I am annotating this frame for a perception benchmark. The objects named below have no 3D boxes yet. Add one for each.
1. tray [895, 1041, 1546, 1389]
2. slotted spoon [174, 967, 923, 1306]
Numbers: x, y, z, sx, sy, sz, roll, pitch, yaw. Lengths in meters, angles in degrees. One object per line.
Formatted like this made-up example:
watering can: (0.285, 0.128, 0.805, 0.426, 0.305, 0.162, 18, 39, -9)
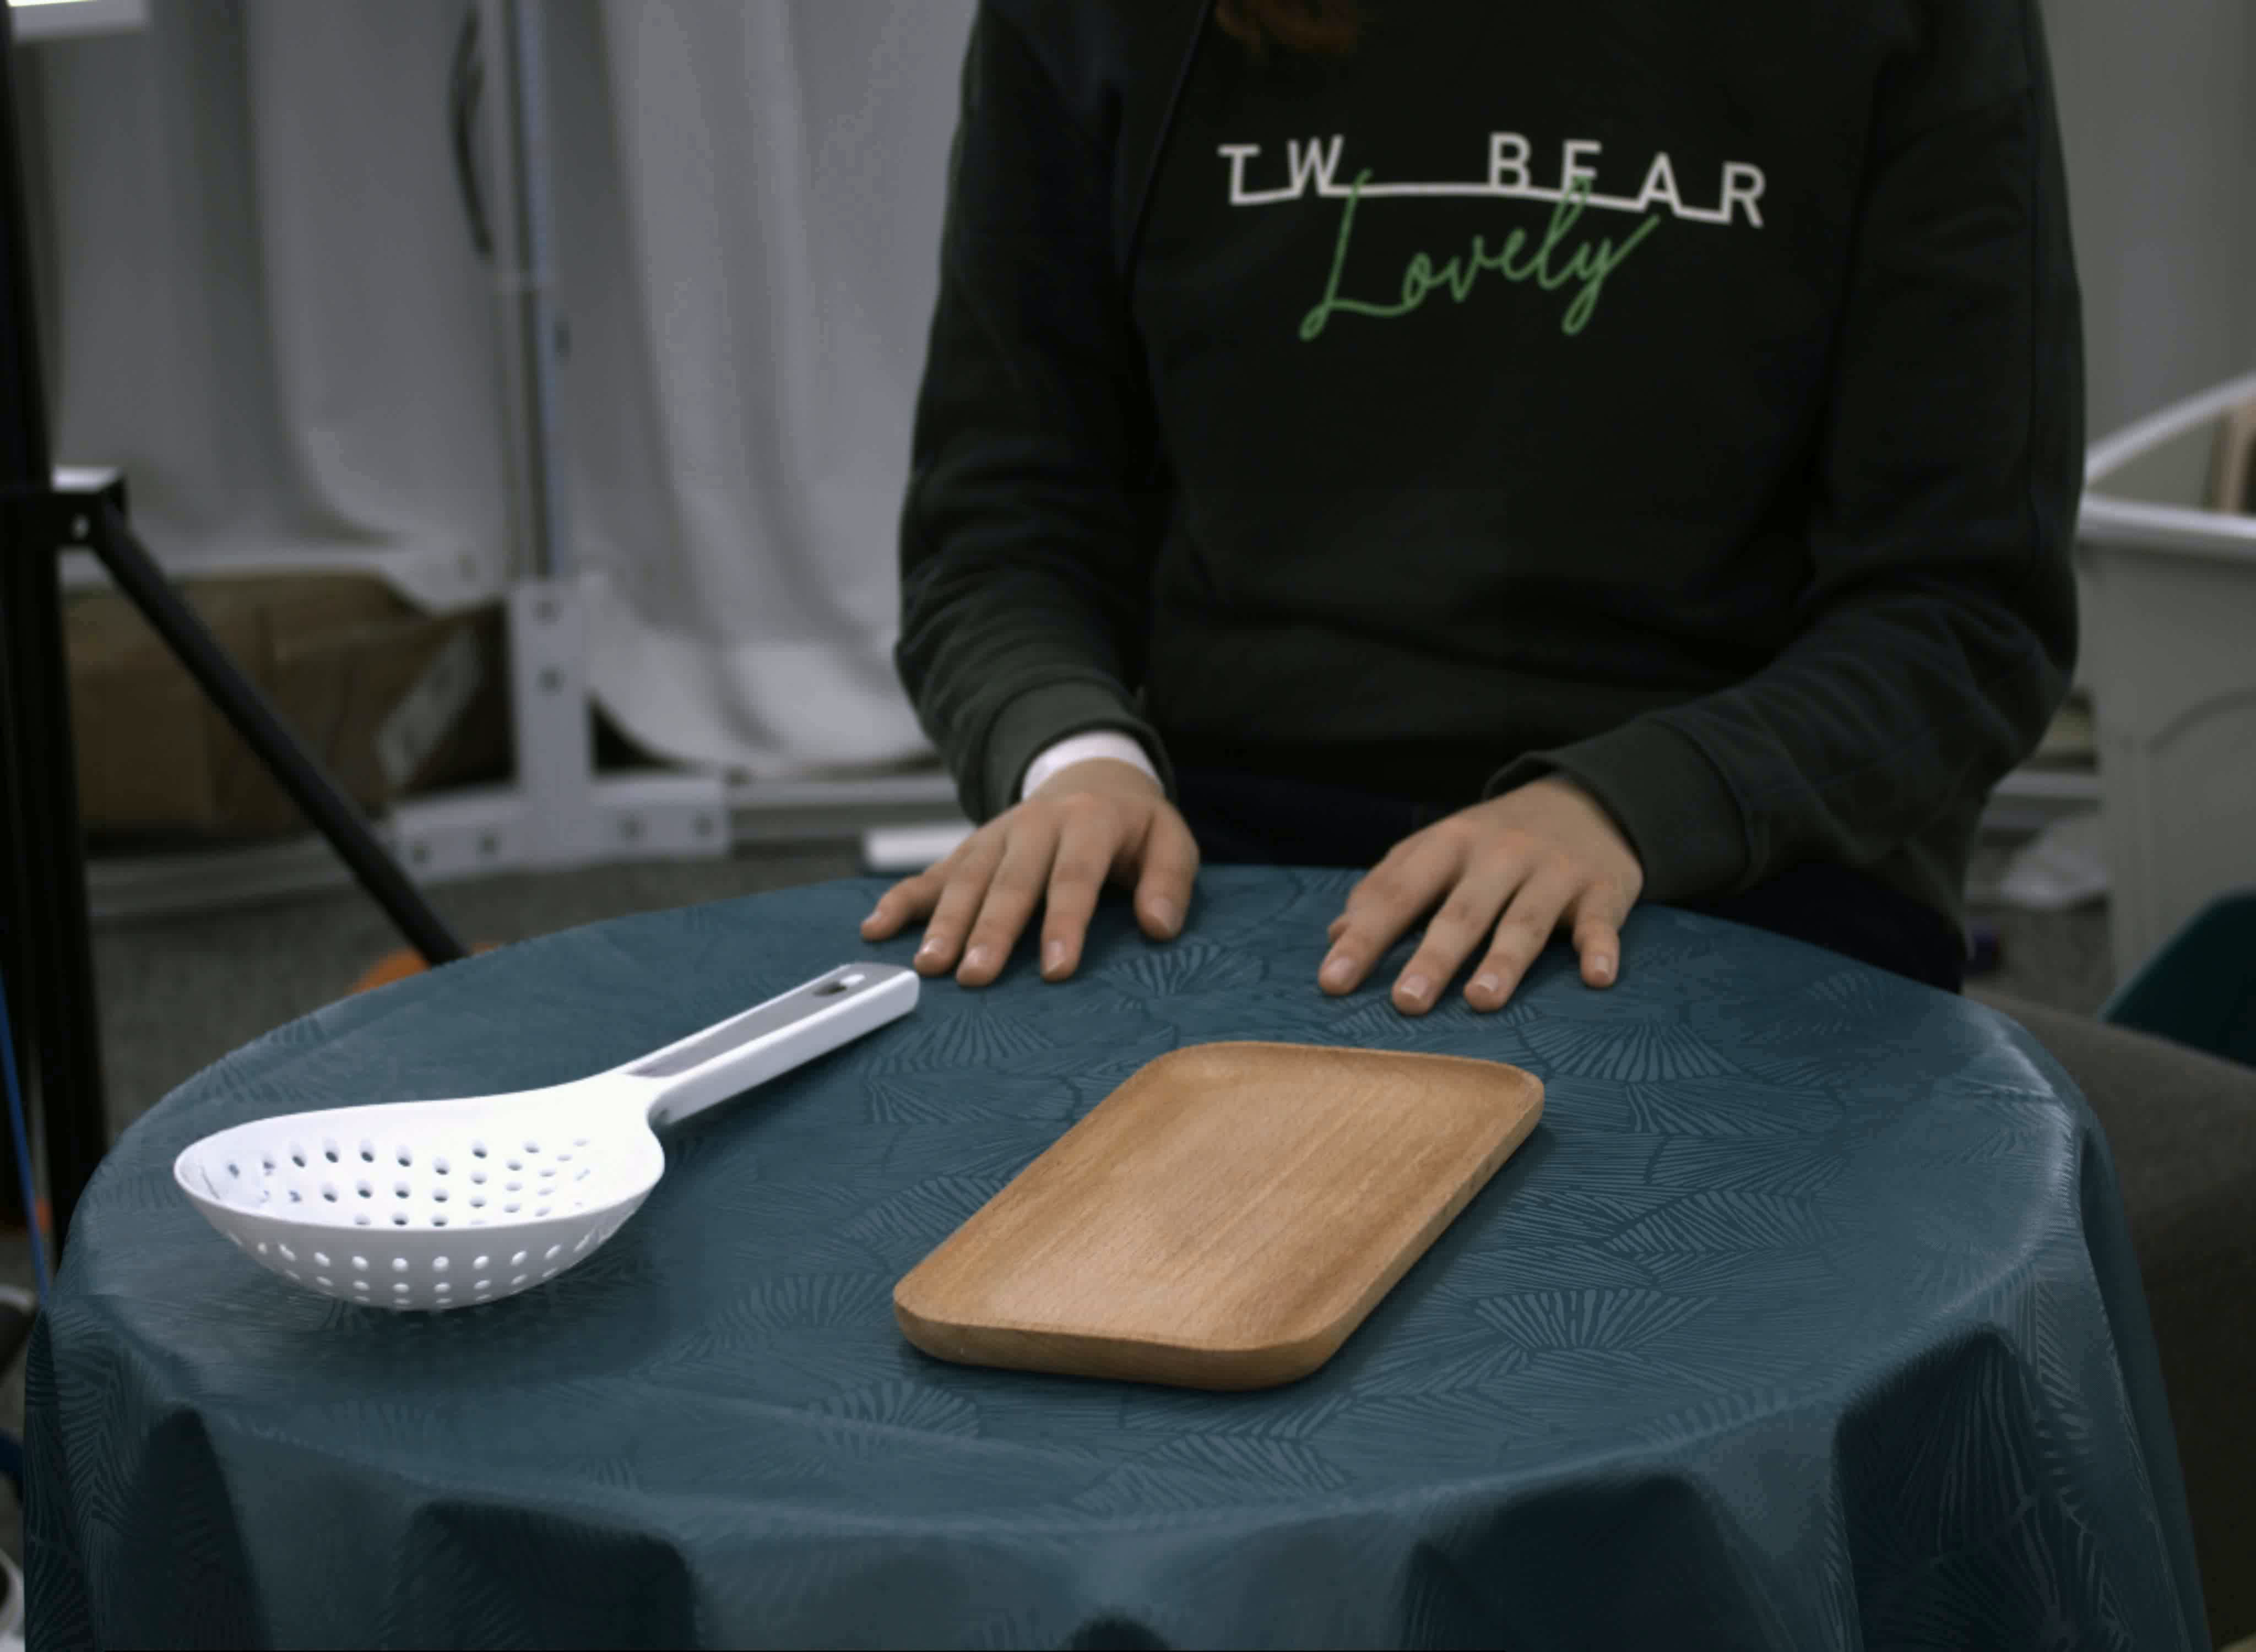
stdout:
tray: (0.031, 0.109, 1.520, 0.132, 0.023, 0.247, 6, 17, 21)
slotted spoon: (-0.152, 0.083, 1.589, 0.138, 0.046, 0.344, 7, 18, 25)
